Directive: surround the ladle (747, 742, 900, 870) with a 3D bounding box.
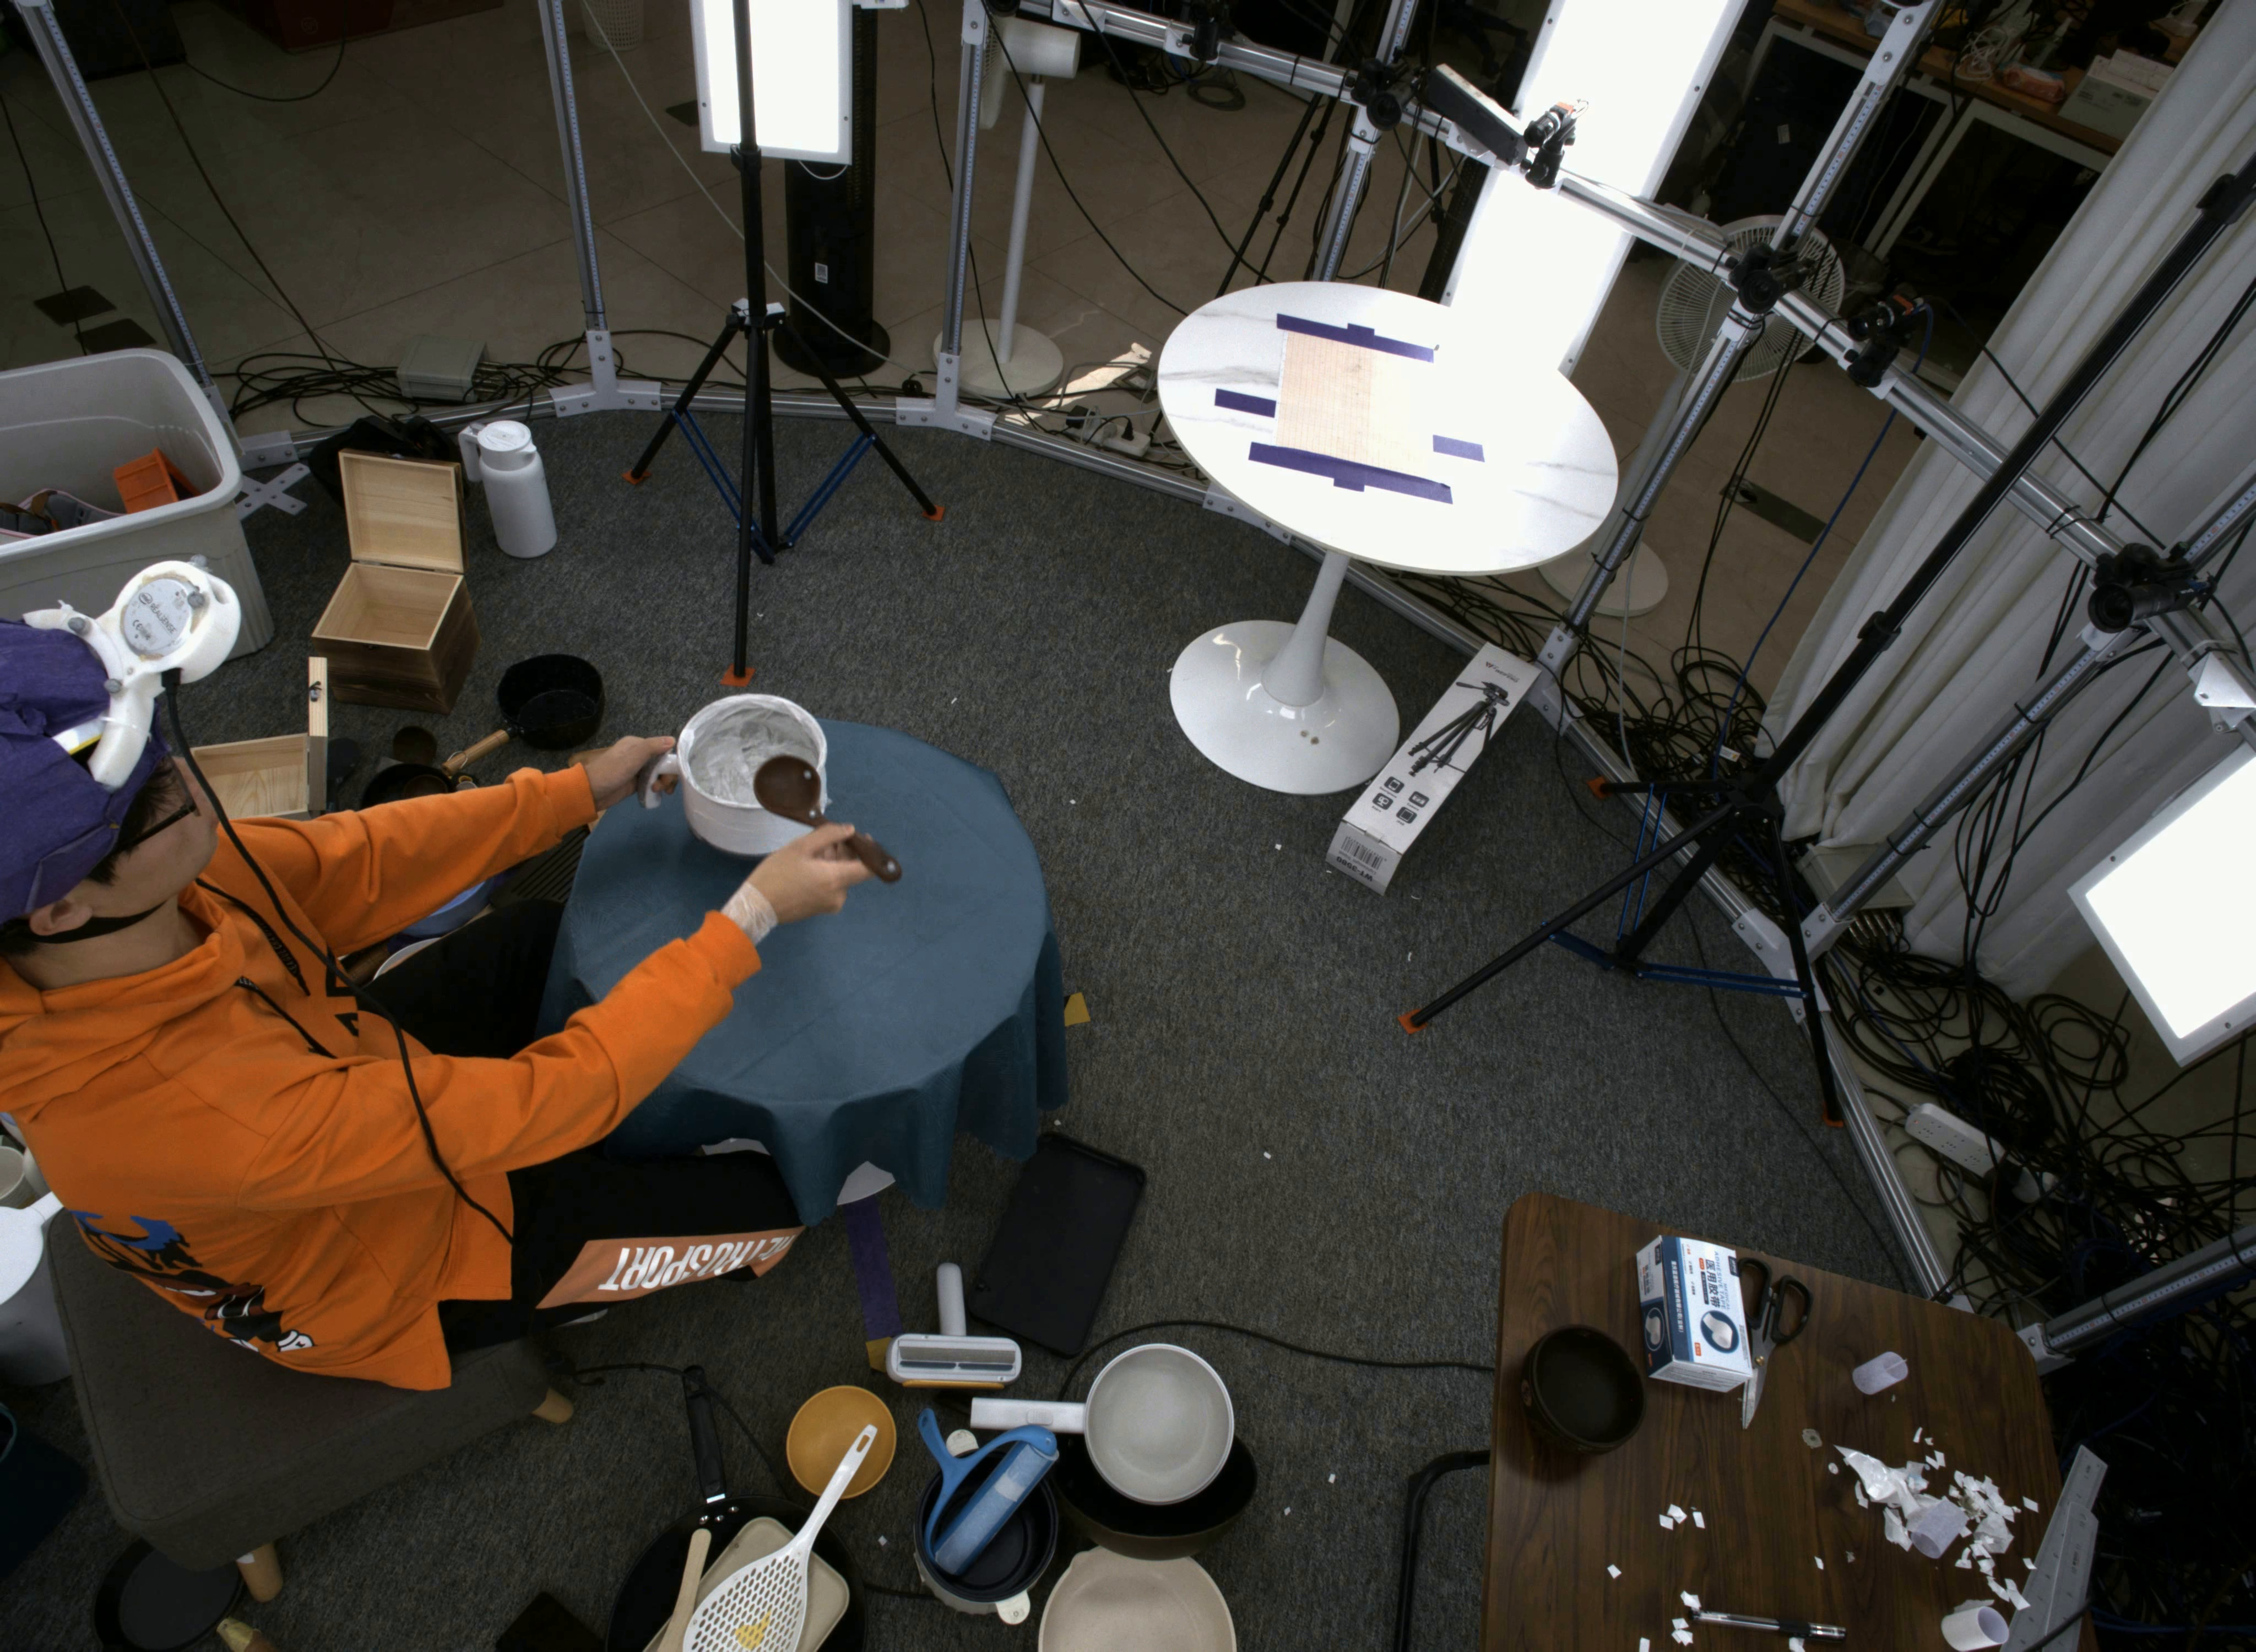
[{"bbox_3d":[-0.323,-0.024,1.375,0.076,0.067,0.250,-38,41,-25],"label":"ladle"}]

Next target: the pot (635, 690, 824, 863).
[{"bbox_3d":[-0.491,-0.057,1.586,0.234,0.139,0.175,1,54,-14],"label":"pot"}]
